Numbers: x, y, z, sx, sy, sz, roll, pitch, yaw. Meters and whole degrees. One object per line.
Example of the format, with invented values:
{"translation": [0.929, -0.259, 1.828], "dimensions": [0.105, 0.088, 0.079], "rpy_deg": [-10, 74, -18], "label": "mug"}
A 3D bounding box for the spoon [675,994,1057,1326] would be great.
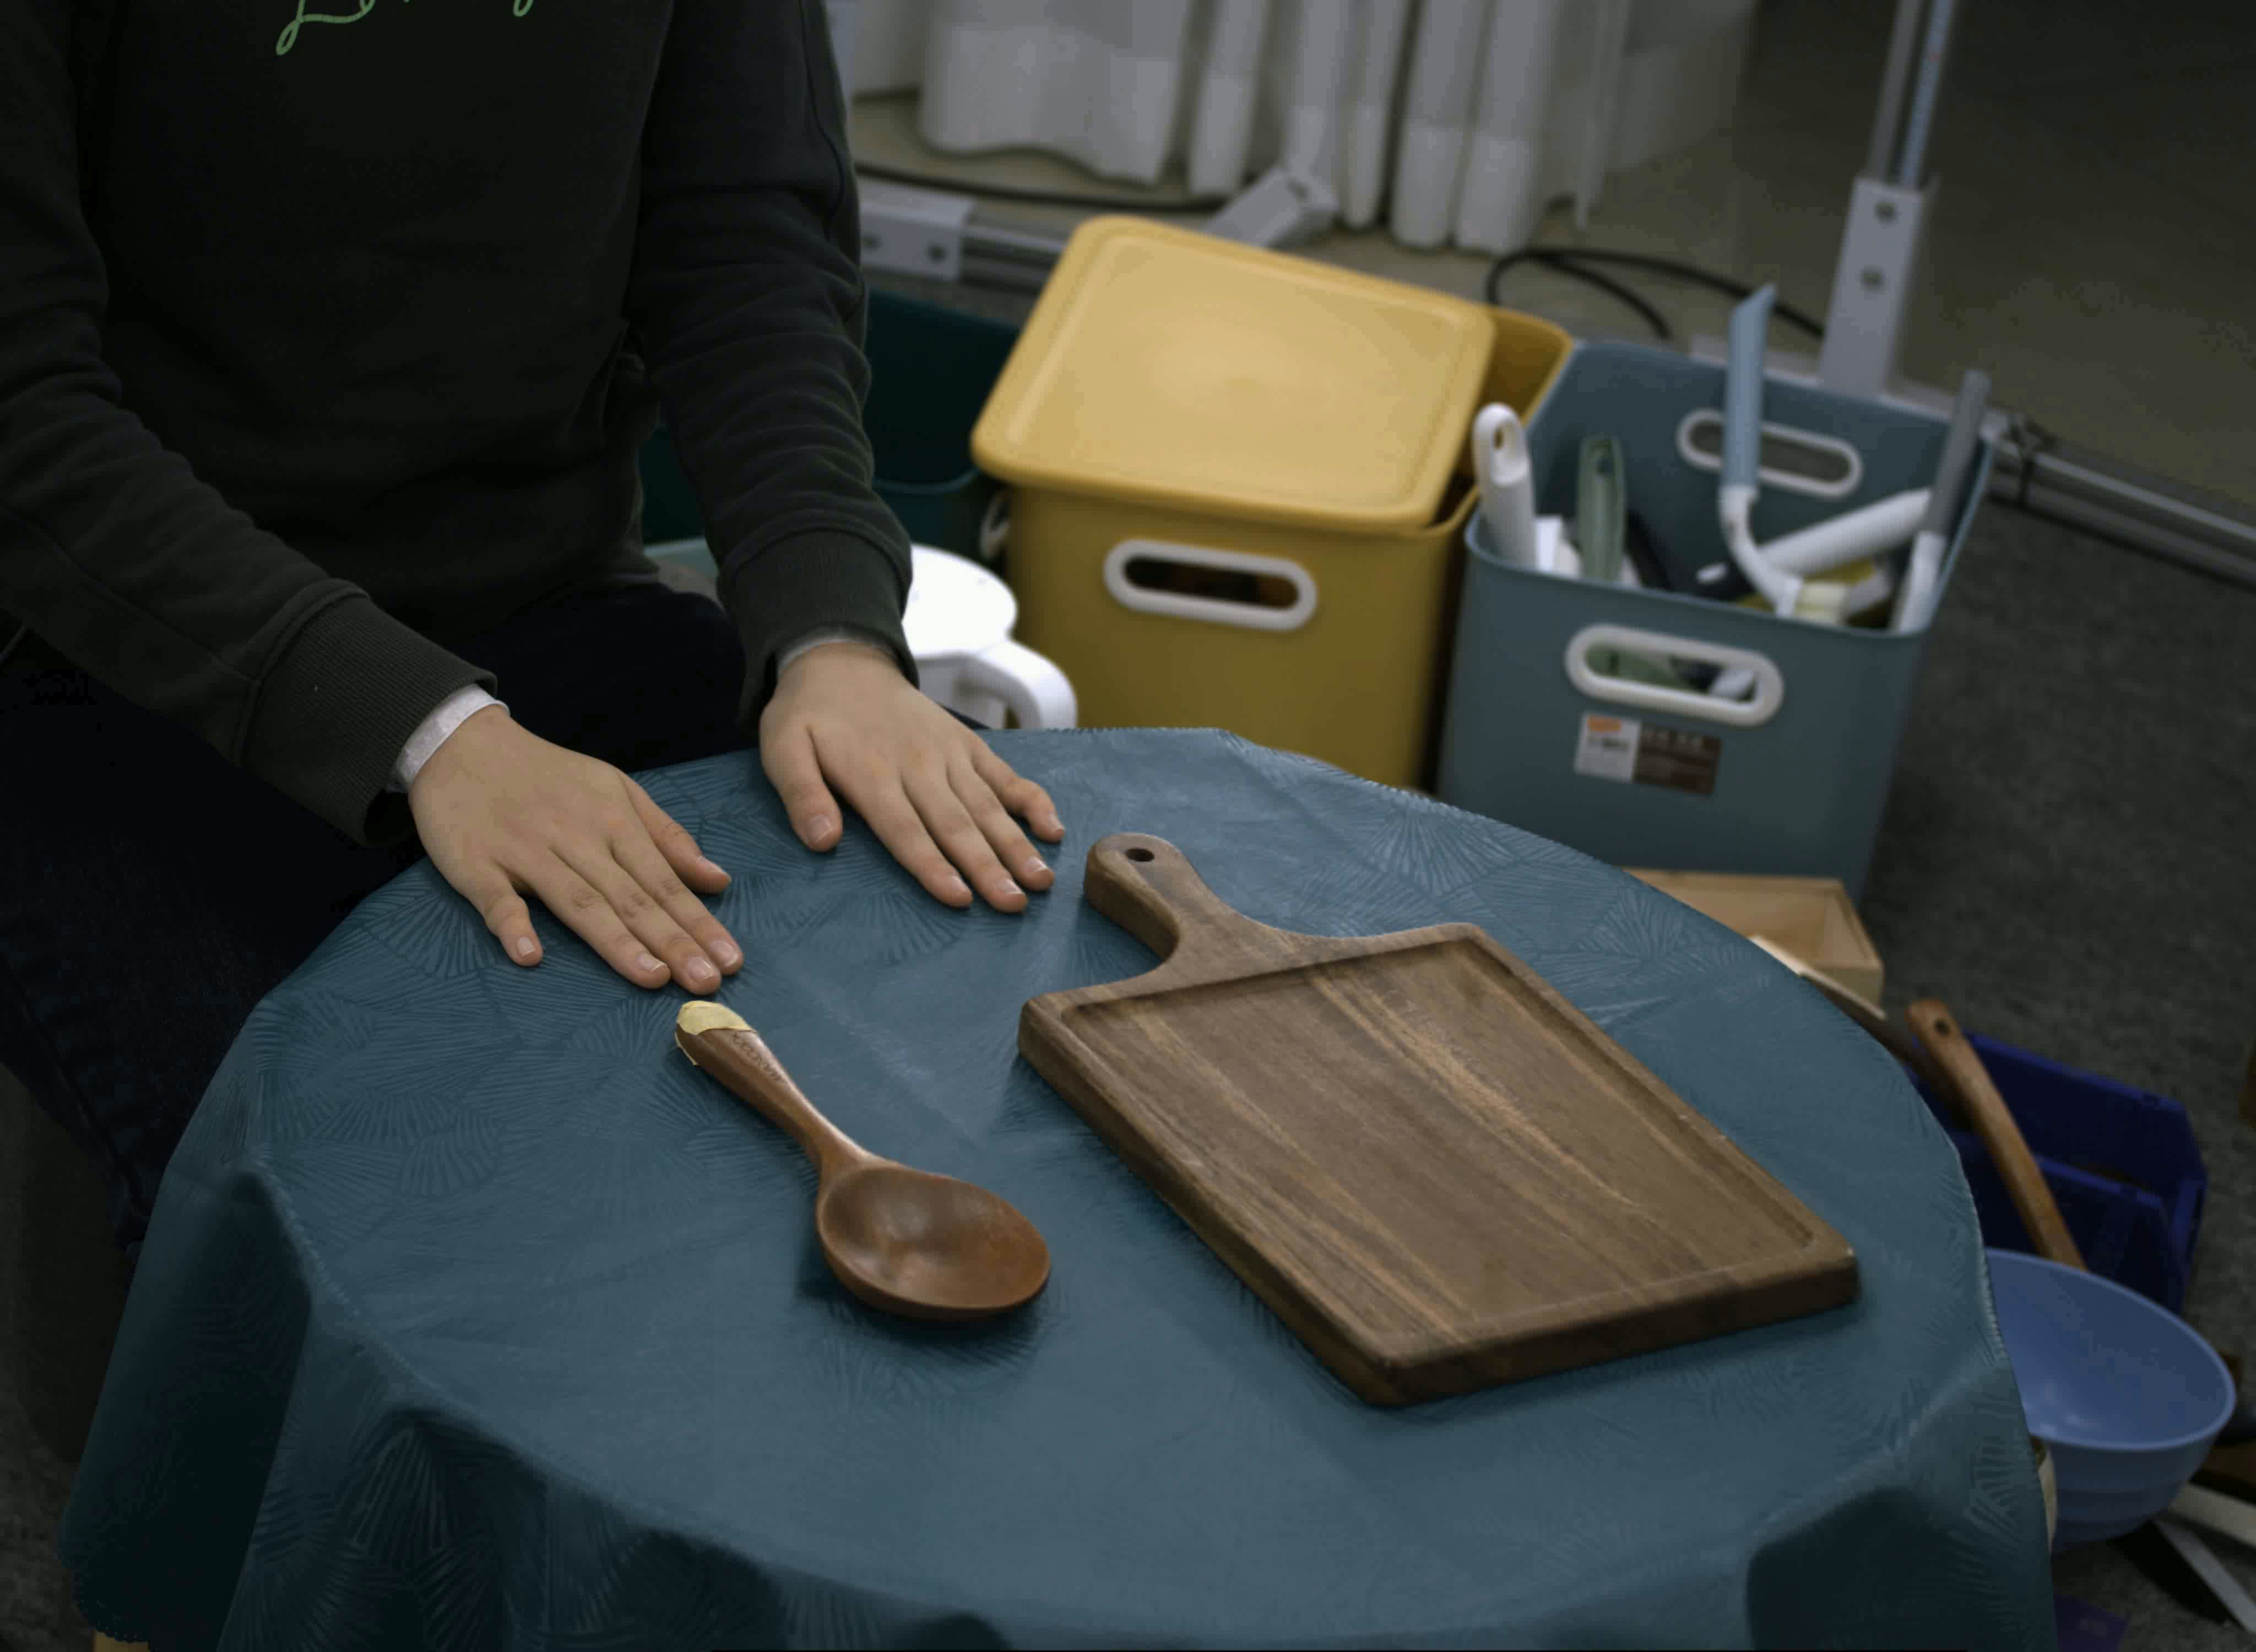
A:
{"translation": [-0.096, 0.112, 1.782], "dimensions": [0.075, 0.017, 0.218], "rpy_deg": [-12, 32, -29], "label": "spoon"}

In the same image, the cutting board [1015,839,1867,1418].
{"translation": [0.080, 0.090, 1.865], "dimensions": [0.200, 0.023, 0.355], "rpy_deg": [-10, 31, -28], "label": "cutting board"}
